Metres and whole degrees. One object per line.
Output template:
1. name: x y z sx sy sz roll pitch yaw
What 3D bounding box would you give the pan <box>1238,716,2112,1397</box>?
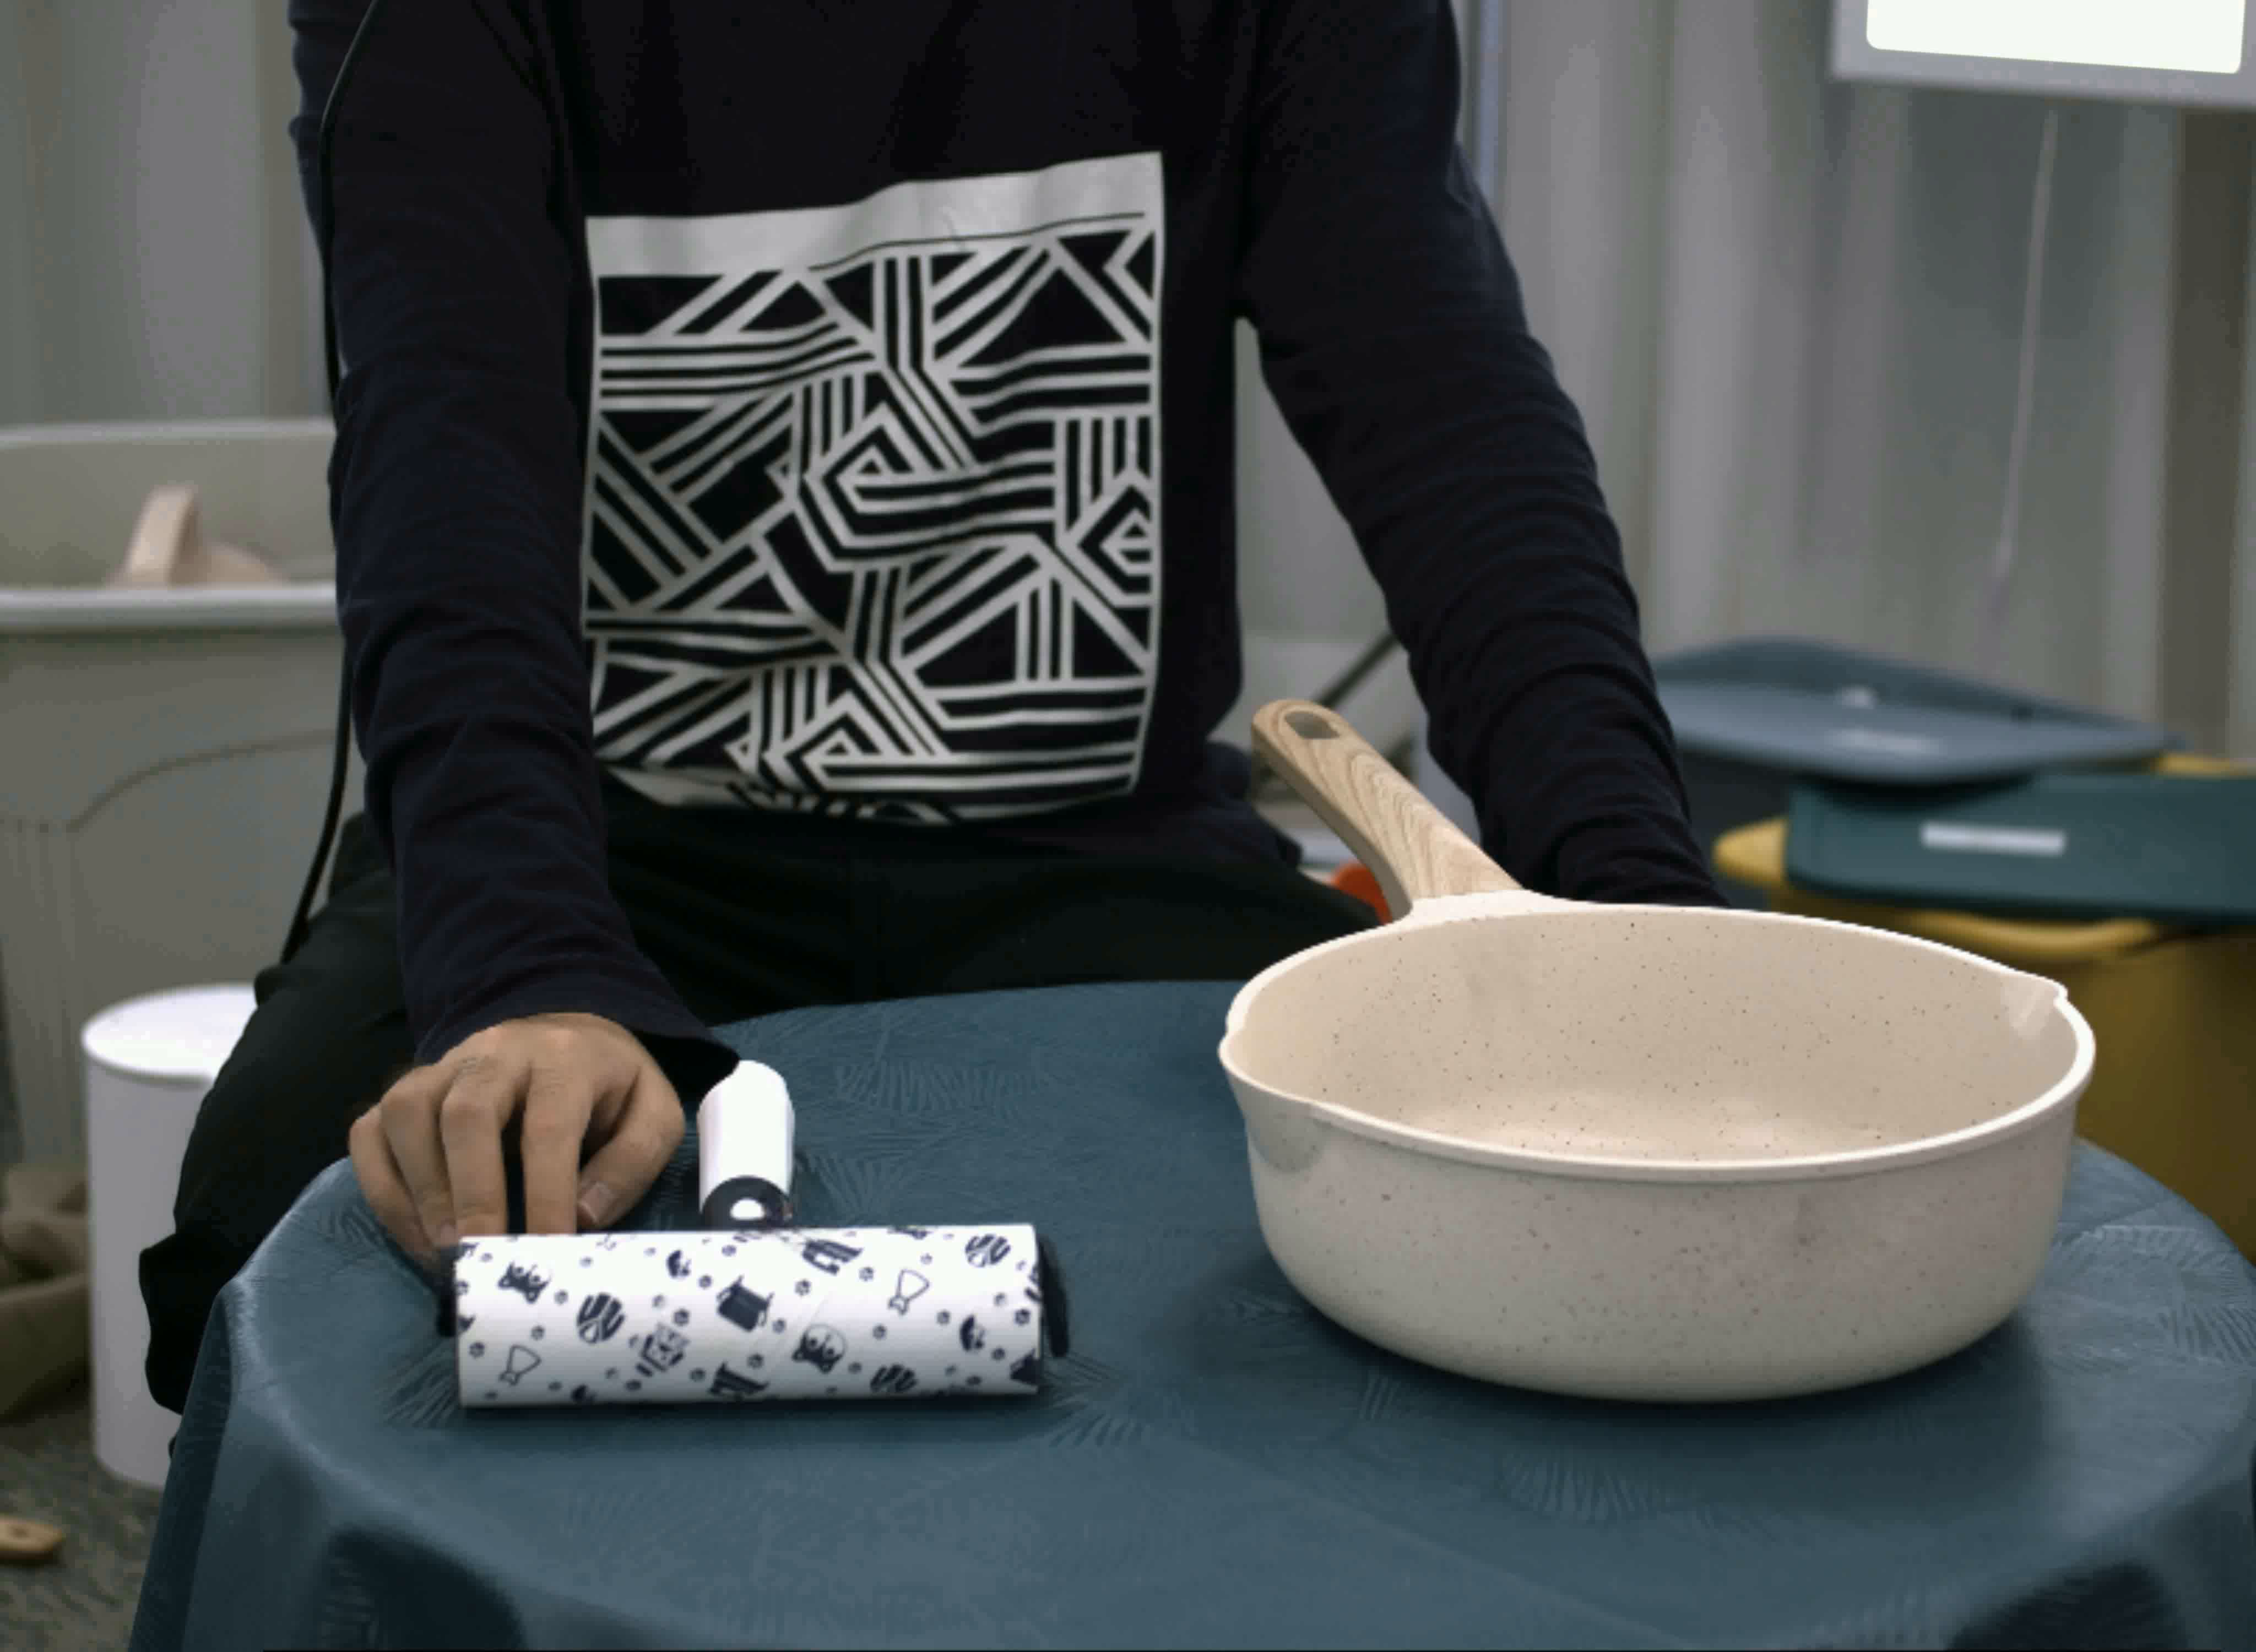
1. pan: 0.127 0.065 1.615 0.264 0.103 0.430 -6 17 -19

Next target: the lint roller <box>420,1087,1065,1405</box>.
1. lint roller: -0.115 0.111 1.548 0.176 0.051 0.245 -2 13 -5
